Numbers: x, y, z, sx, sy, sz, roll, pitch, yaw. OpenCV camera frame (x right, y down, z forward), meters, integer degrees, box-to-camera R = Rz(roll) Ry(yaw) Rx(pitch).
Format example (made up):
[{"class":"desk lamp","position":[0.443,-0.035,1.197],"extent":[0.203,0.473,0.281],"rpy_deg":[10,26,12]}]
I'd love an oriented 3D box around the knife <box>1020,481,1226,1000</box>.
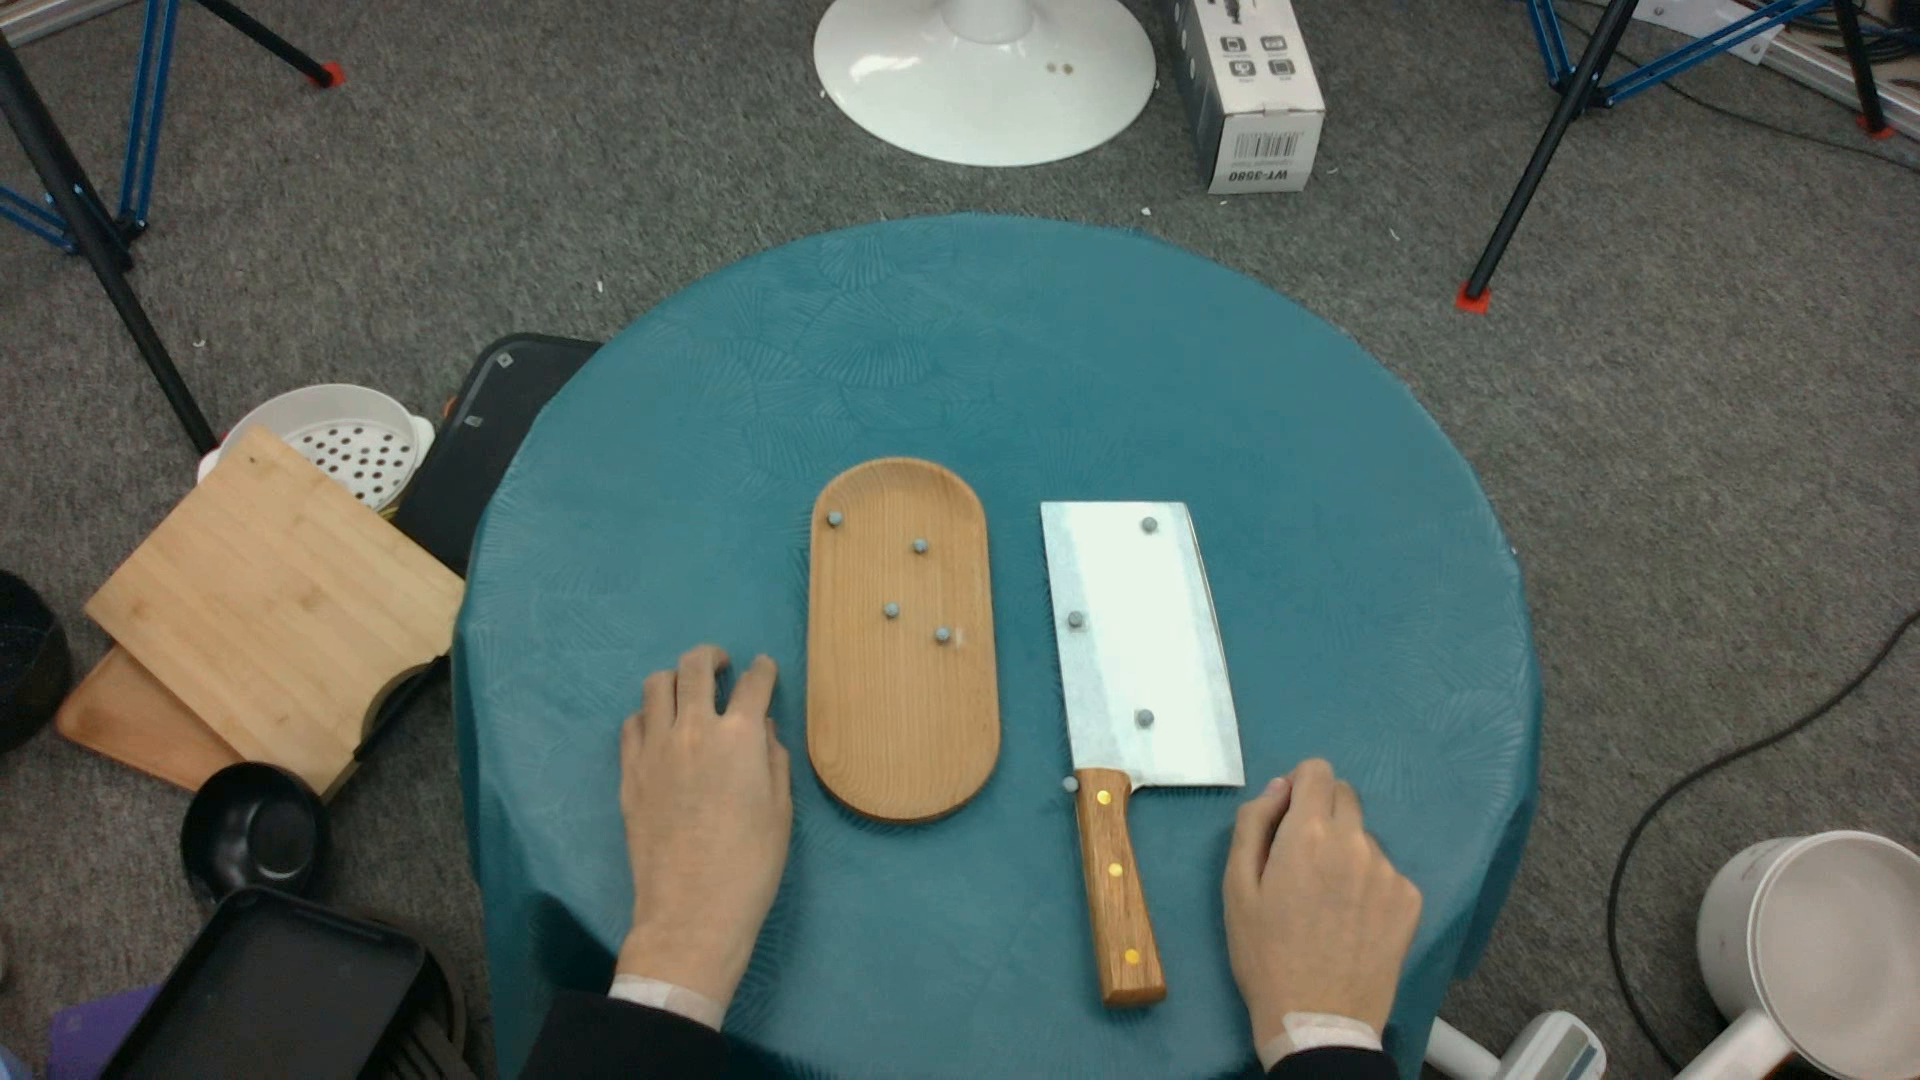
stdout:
[{"class":"knife","position":[0.090,0.087,0.725],"extent":[0.093,0.021,0.307],"rpy_deg":[0,52,-7]}]

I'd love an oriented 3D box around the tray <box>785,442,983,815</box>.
[{"class":"tray","position":[-0.042,0.041,0.744],"extent":[0.102,0.020,0.232],"rpy_deg":[0,56,-4]}]
